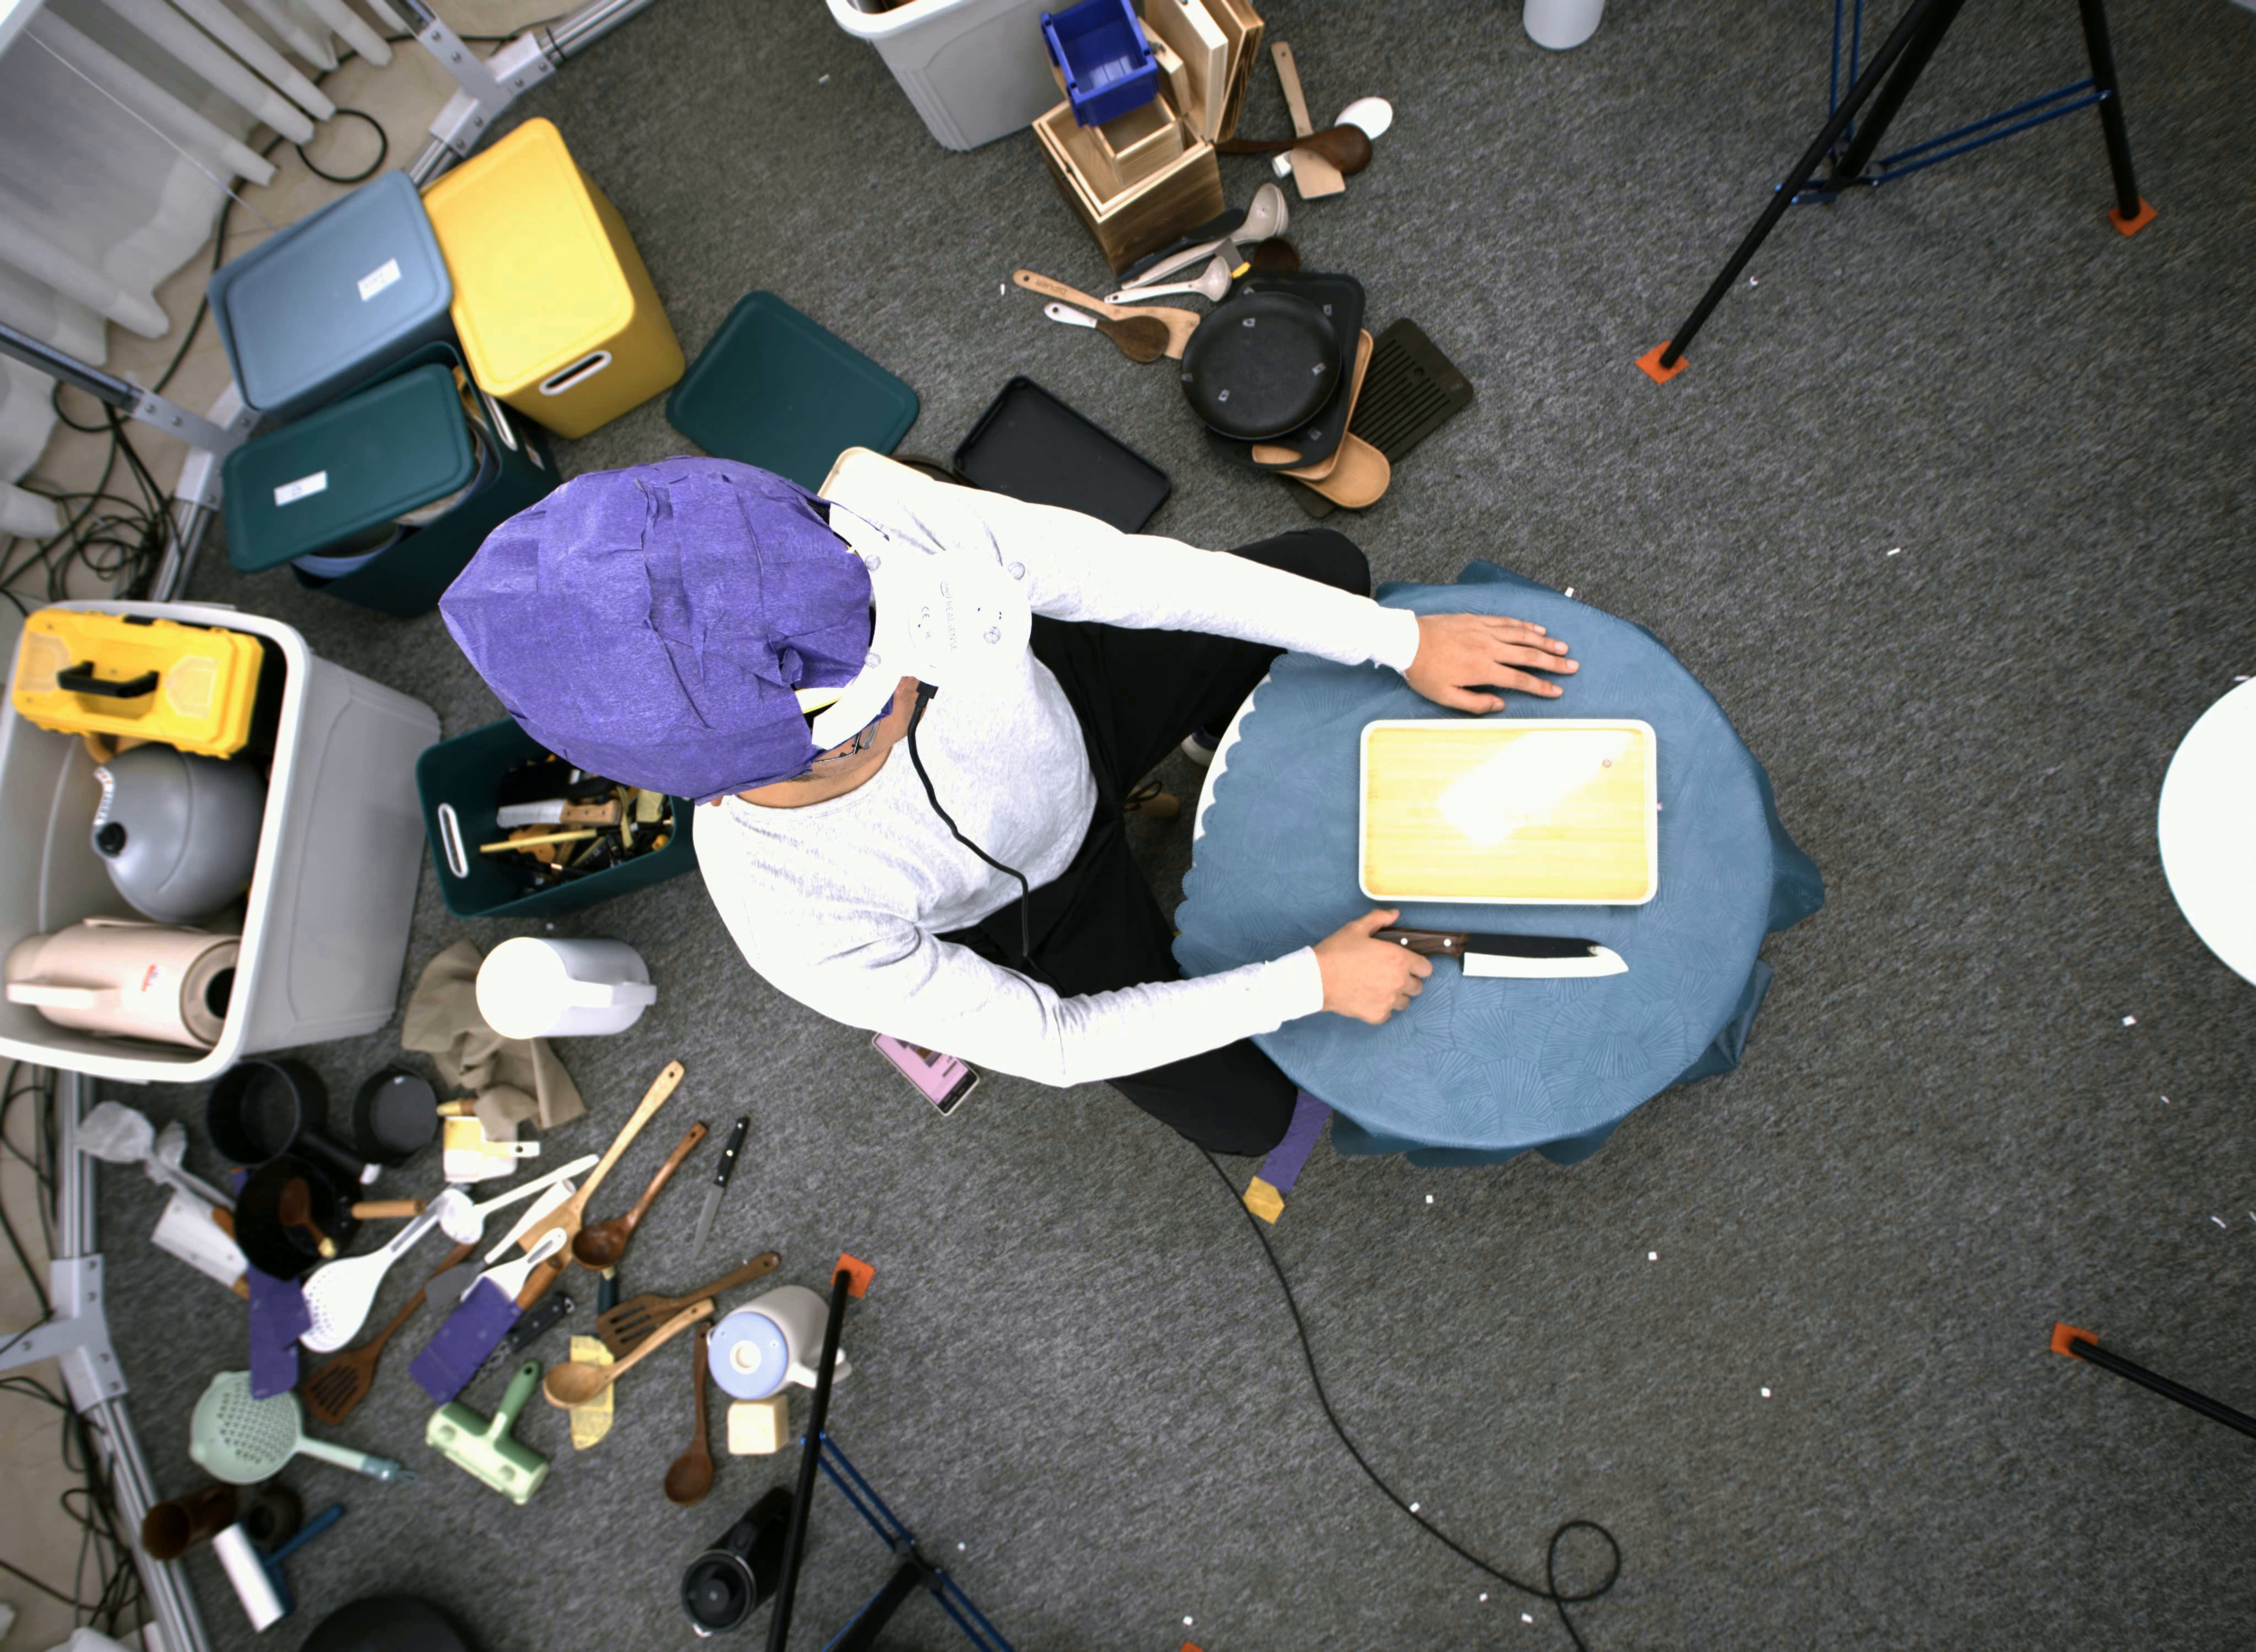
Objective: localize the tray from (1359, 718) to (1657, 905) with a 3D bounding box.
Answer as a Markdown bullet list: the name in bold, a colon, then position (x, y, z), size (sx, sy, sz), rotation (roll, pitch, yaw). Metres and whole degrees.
- **tray**: position (0.393, -0.018, 1.429), size (0.301, 0.027, 0.191), rotation (1, 87, 11)

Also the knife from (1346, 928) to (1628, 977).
- **knife**: position (0.371, 0.129, 1.430), size (0.290, 0.020, 0.050), rotation (4, 90, 8)
